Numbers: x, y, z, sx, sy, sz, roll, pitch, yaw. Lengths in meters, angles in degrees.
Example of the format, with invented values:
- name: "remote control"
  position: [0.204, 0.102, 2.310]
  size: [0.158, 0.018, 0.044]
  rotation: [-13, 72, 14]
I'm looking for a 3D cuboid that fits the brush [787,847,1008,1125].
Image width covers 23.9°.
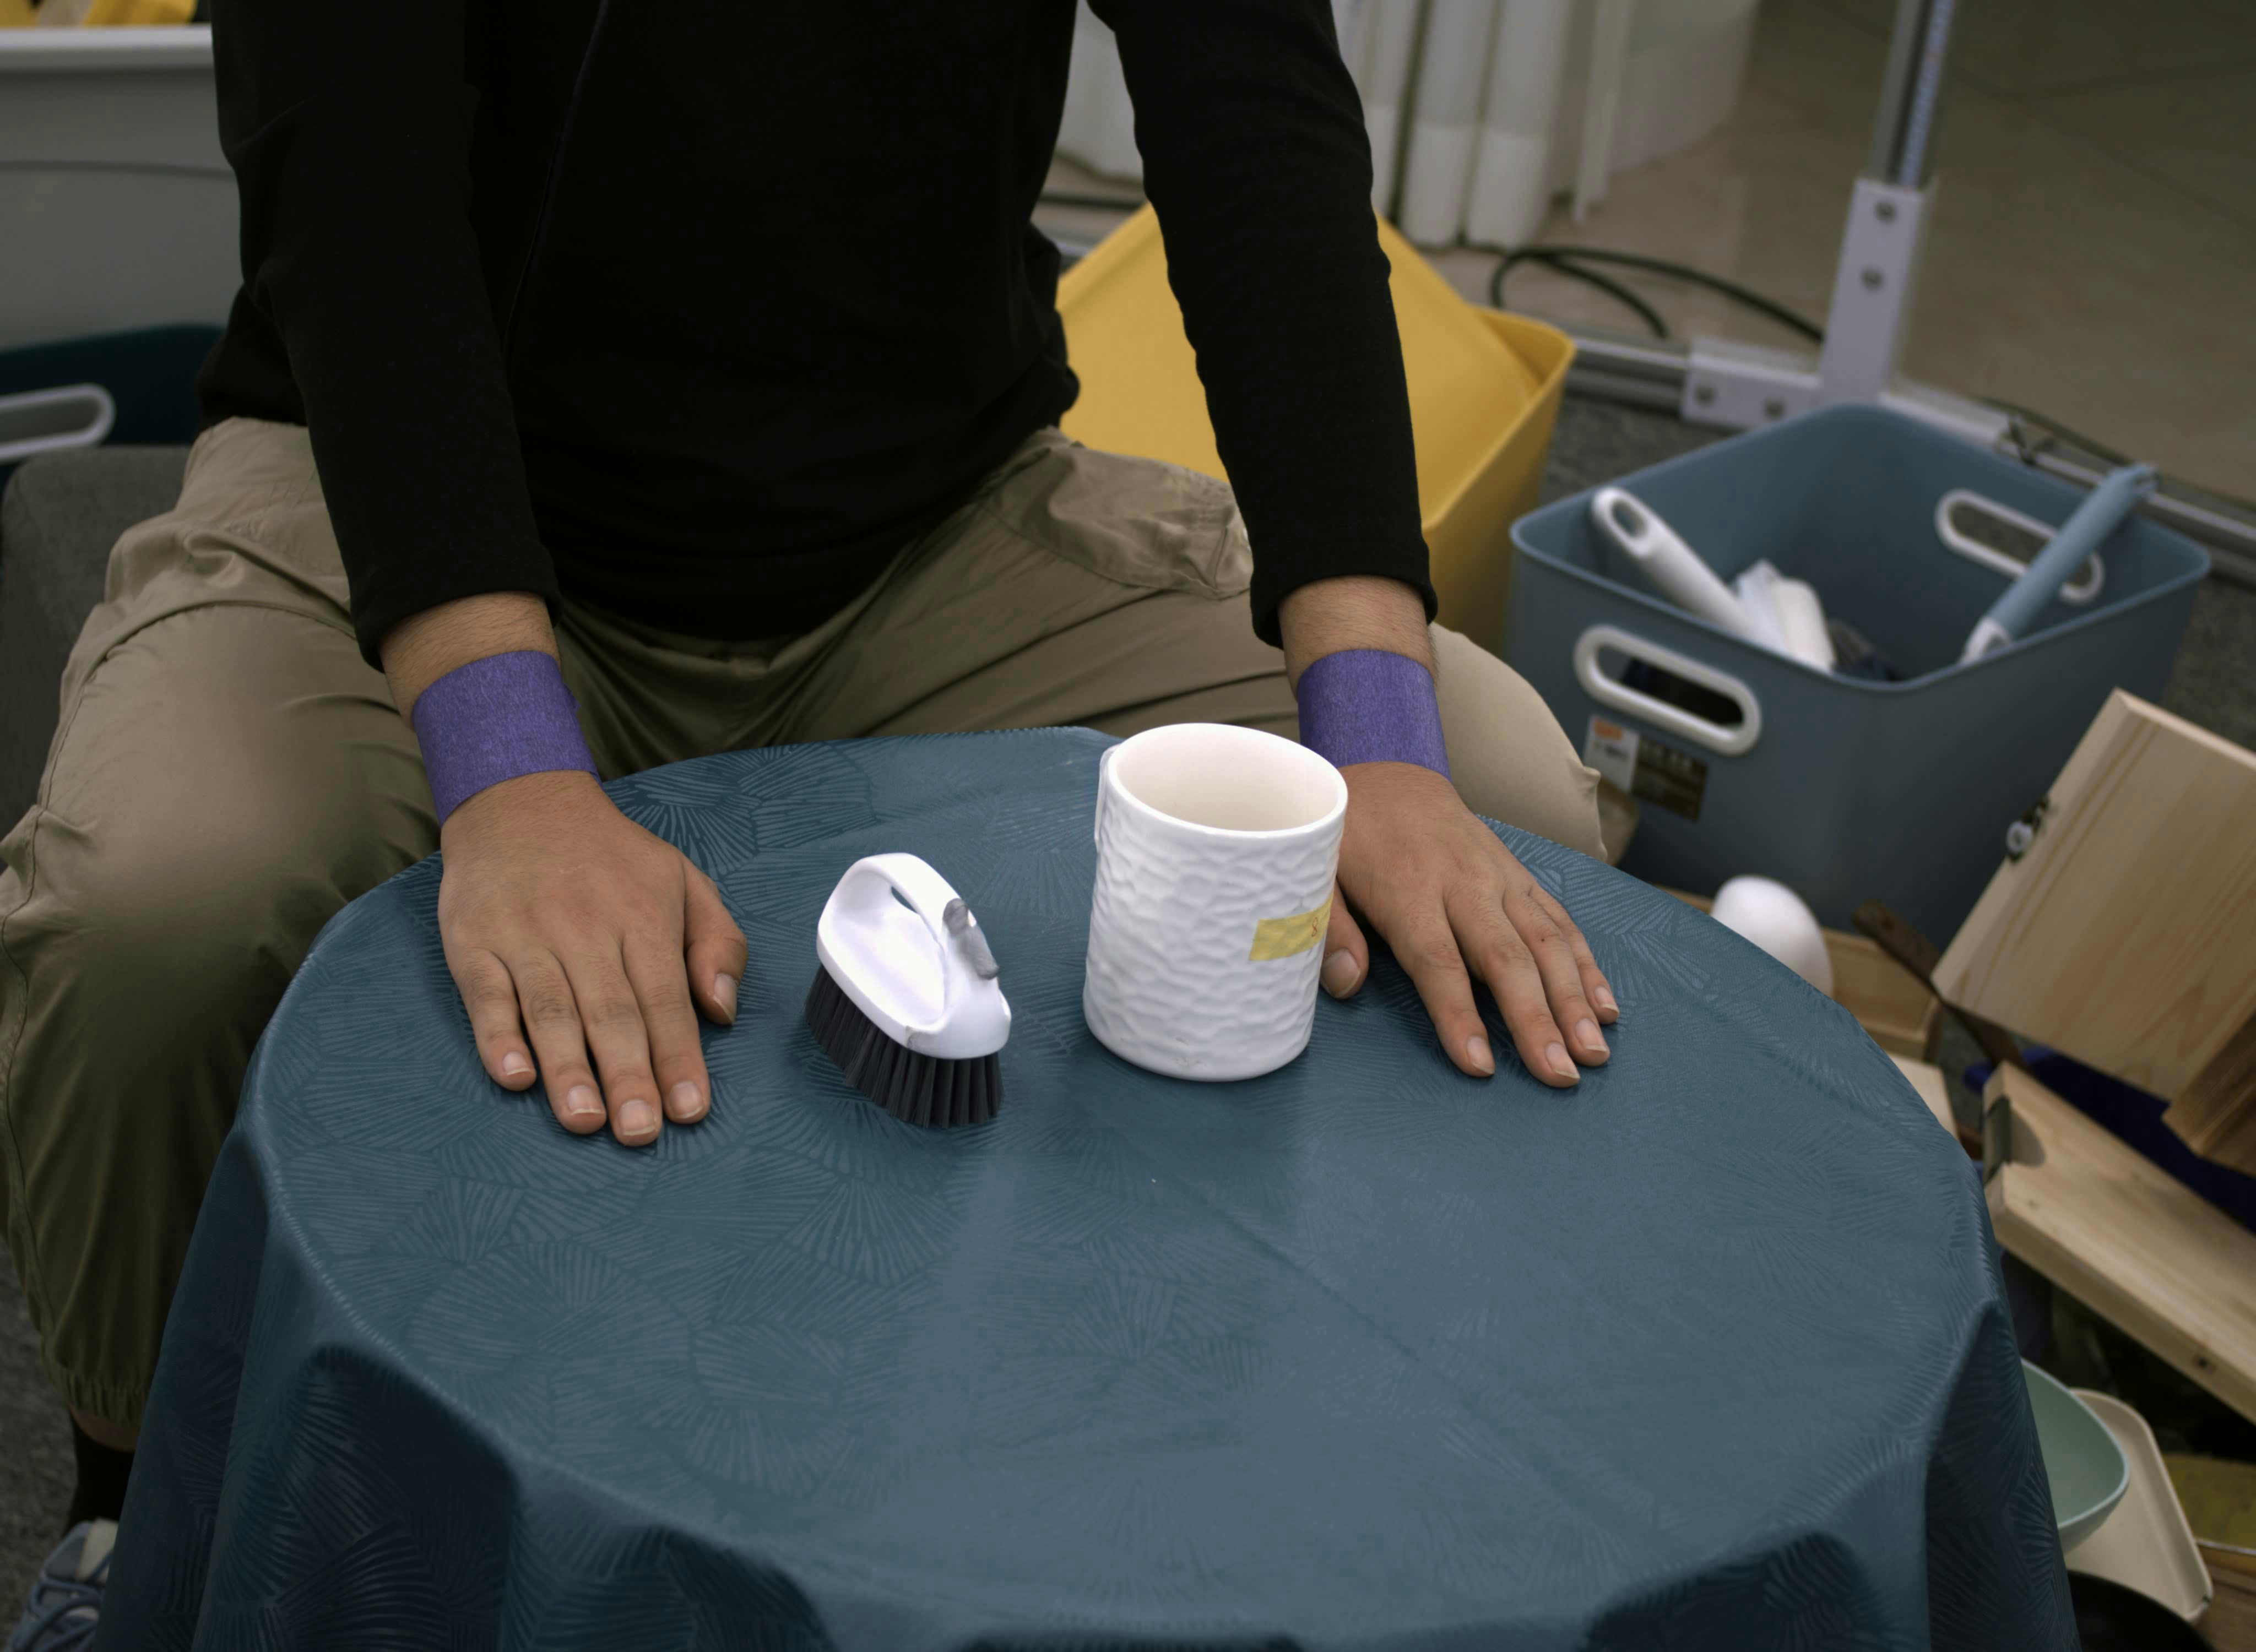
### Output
- name: "brush"
  position: [-0.078, 0.049, 1.849]
  size: [0.050, 0.072, 0.100]
  rotation: [-8, 34, -35]

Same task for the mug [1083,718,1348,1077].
- name: "mug"
  position: [0.022, 0.019, 1.895]
  size: [0.084, 0.101, 0.119]
  rotation: [-10, 31, -29]
